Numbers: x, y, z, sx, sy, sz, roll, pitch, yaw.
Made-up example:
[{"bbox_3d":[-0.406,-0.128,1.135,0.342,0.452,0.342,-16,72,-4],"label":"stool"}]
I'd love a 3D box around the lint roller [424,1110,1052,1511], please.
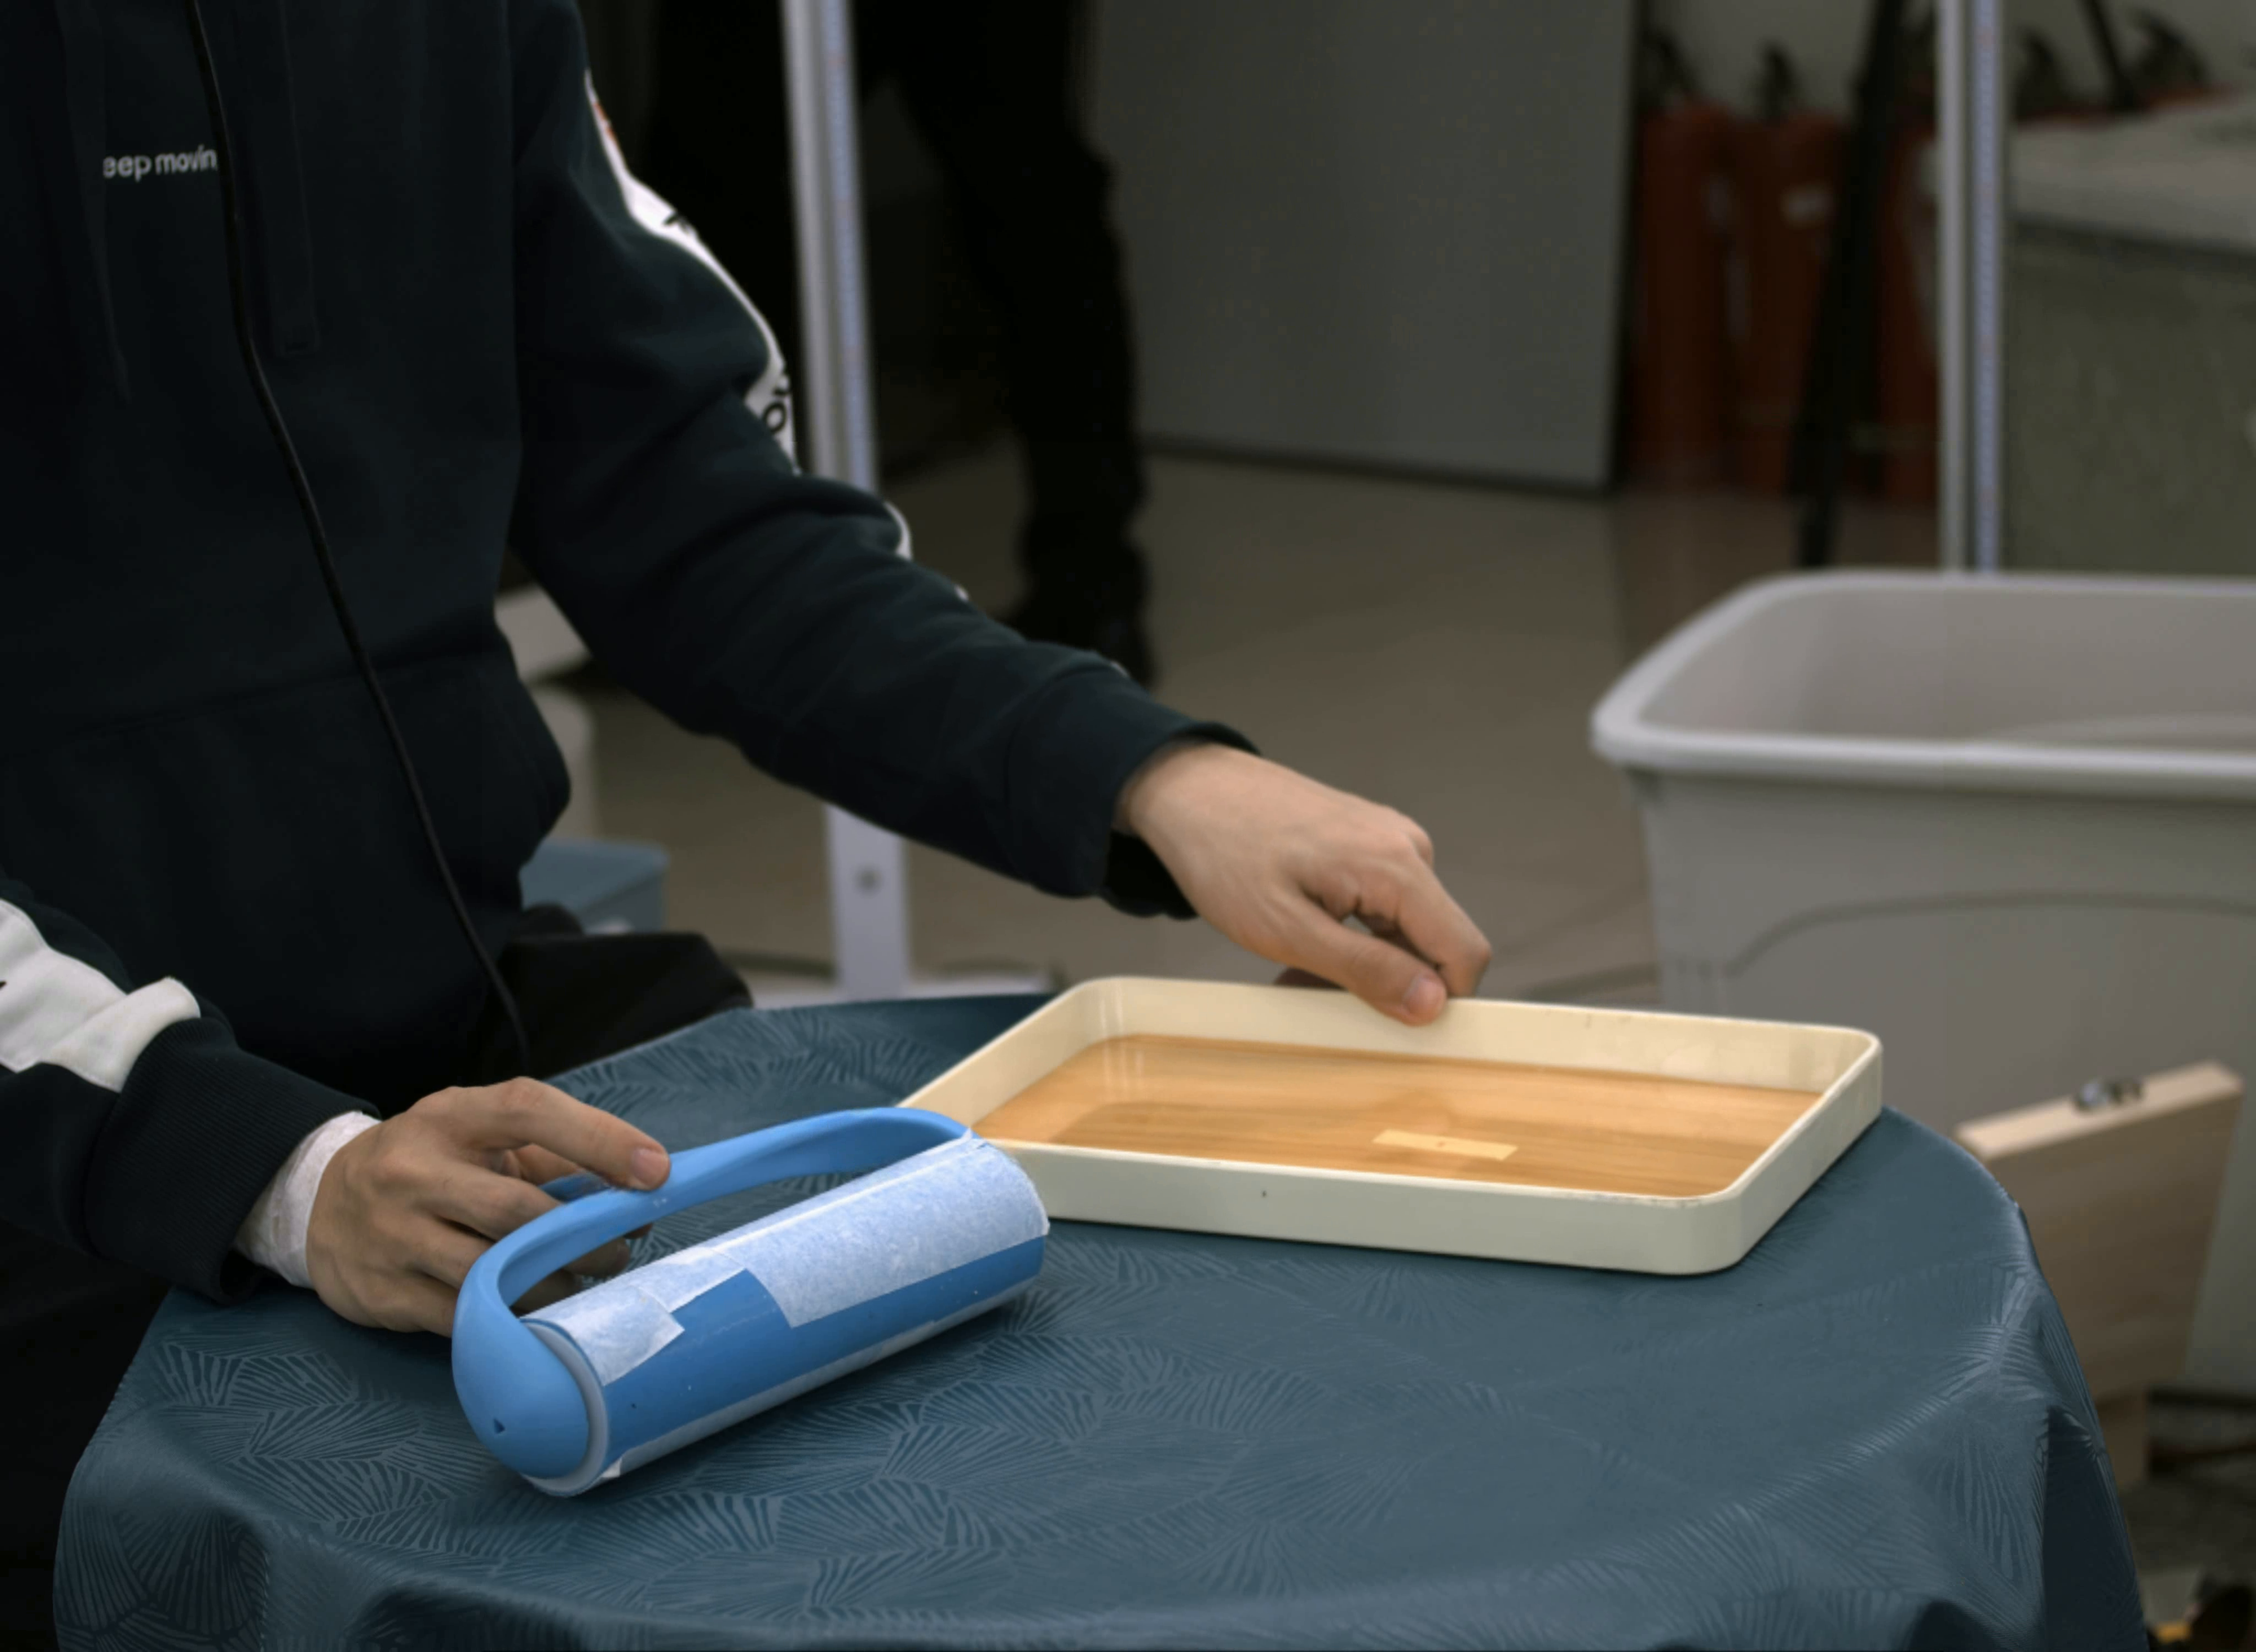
[{"bbox_3d":[-0.149,0.138,1.633,0.181,0.068,0.225,7,20,36],"label":"lint roller"}]

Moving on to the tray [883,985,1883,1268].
[{"bbox_3d":[0.086,0.097,1.788,0.301,0.028,0.189,3,15,26],"label":"tray"}]
